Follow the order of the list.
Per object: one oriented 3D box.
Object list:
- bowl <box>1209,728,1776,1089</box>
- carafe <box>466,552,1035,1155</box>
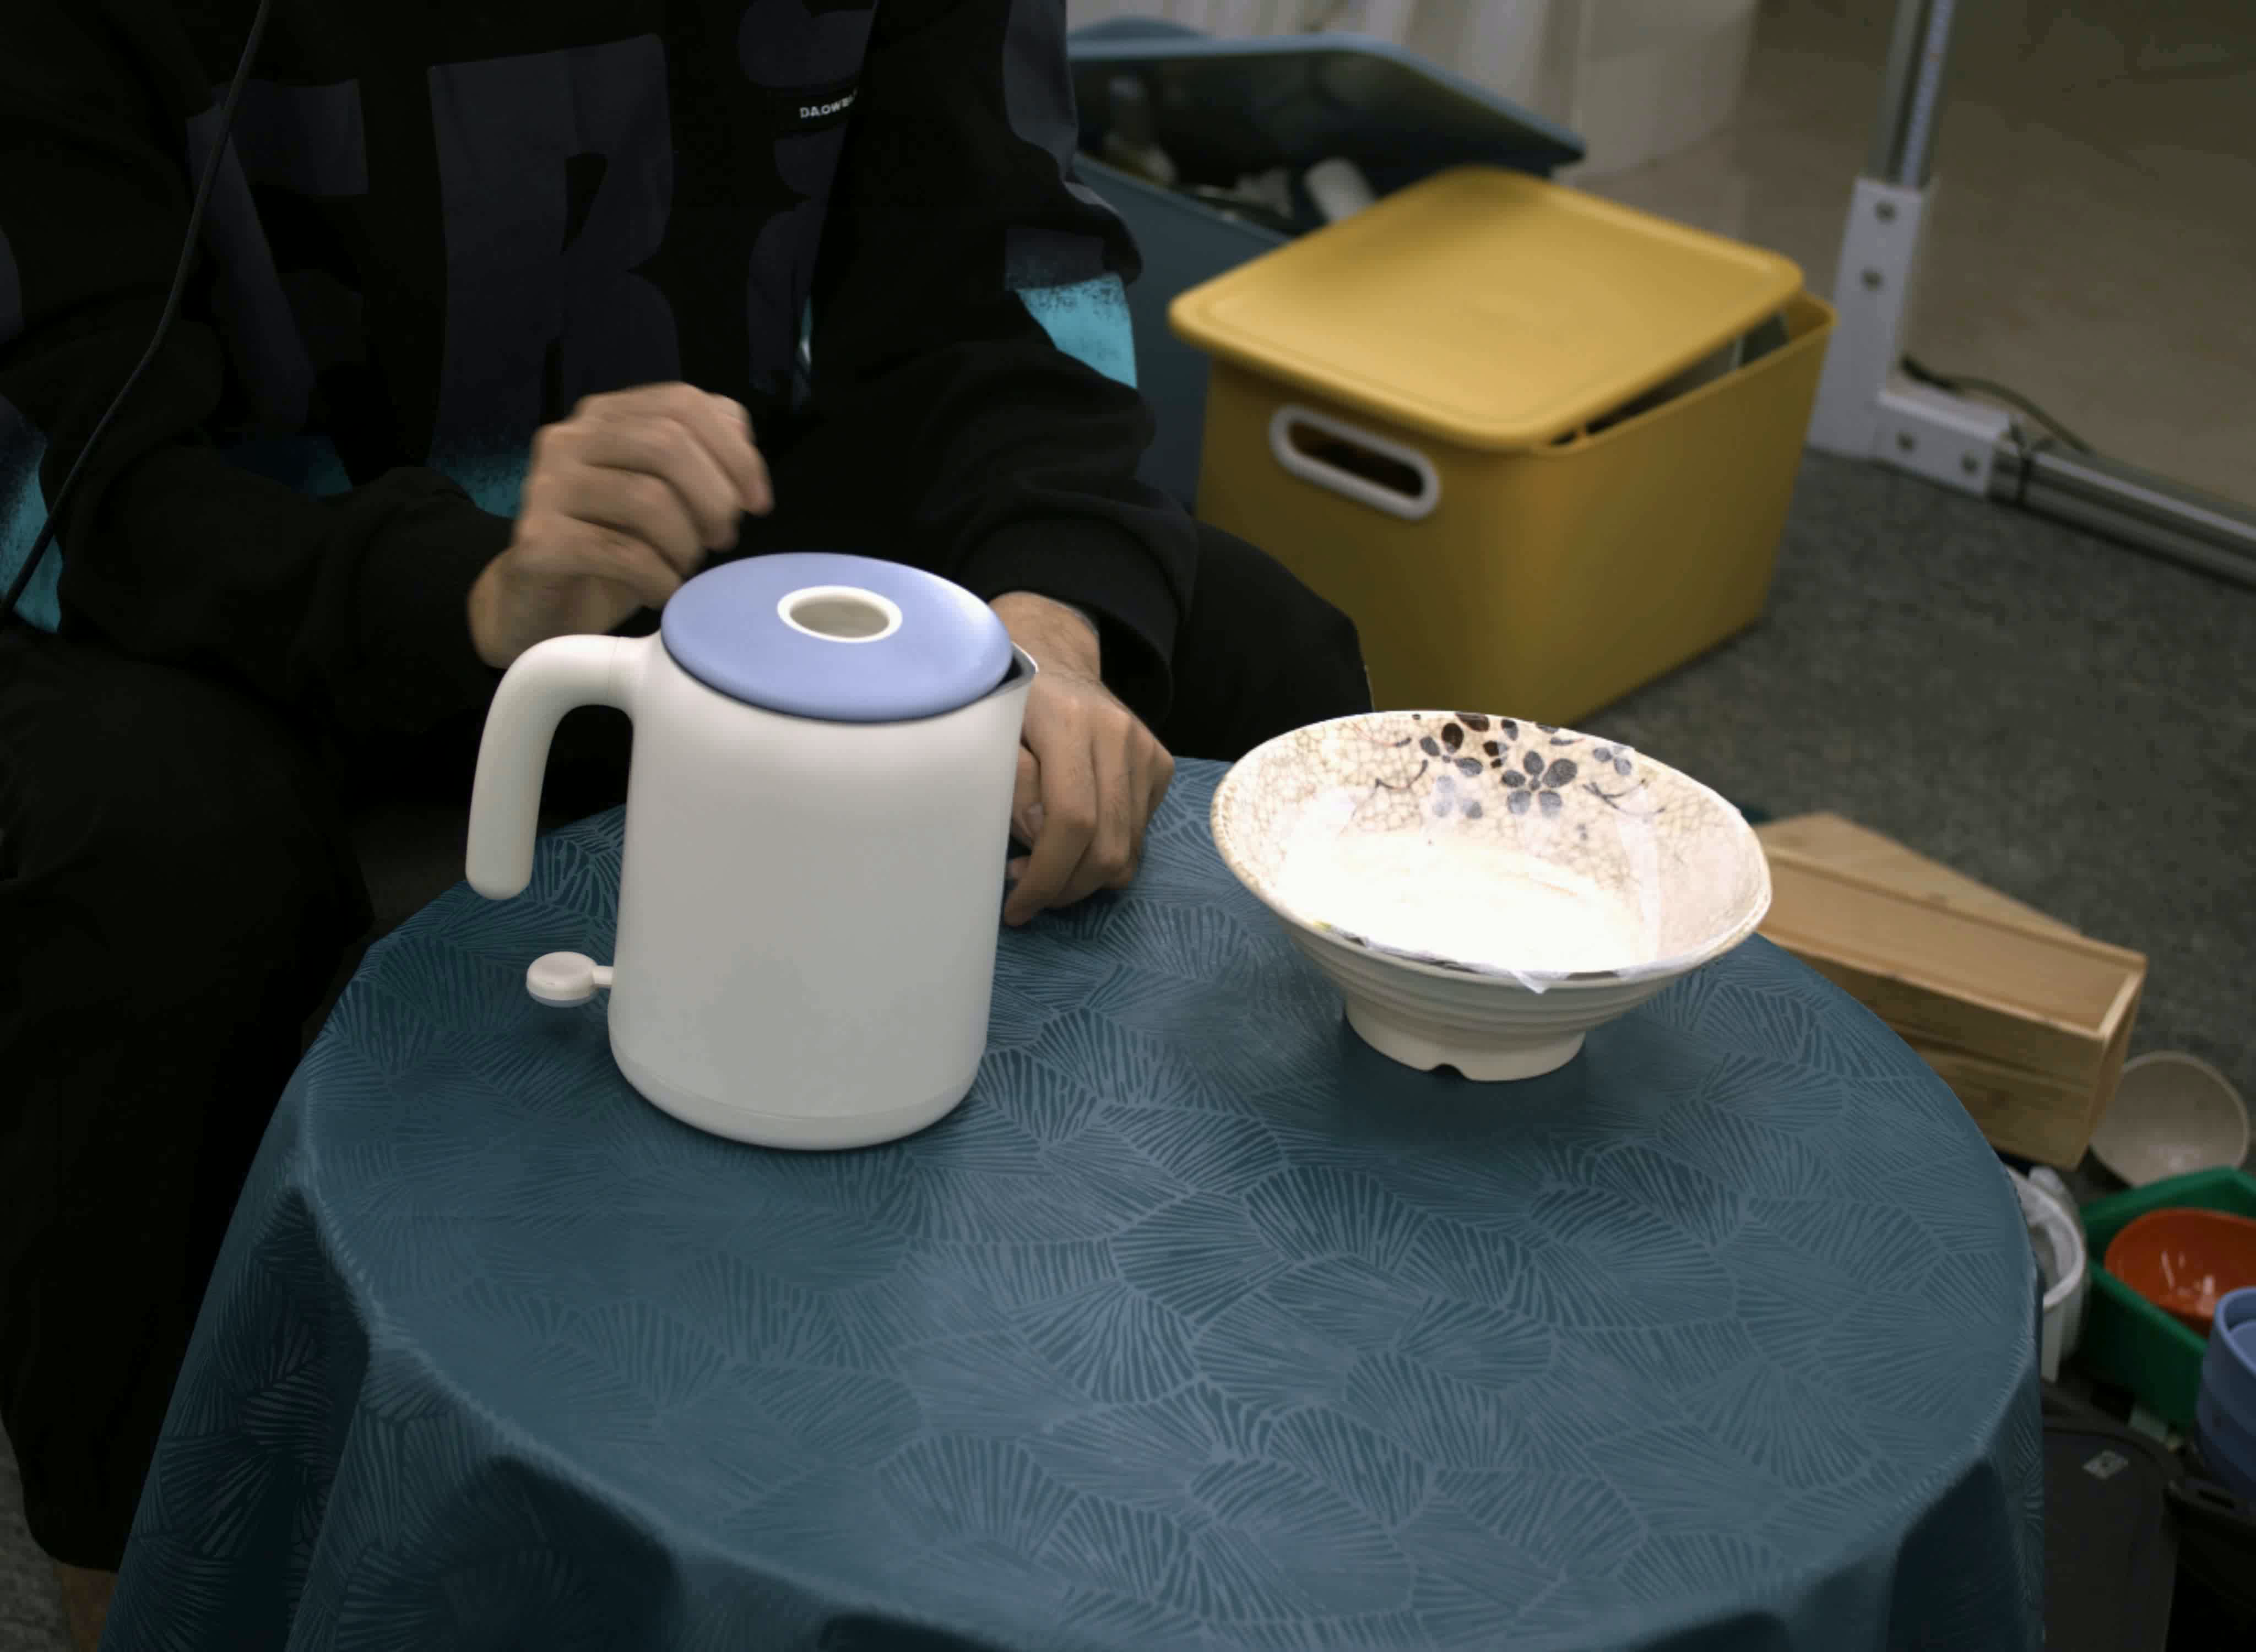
[{"bbox_3d":[0.126,0.040,1.908,0.203,0.078,0.205,5,24,-2],"label":"bowl"},{"bbox_3d":[-0.131,0.006,1.813,0.190,0.182,0.133,5,25,2],"label":"carafe"}]
